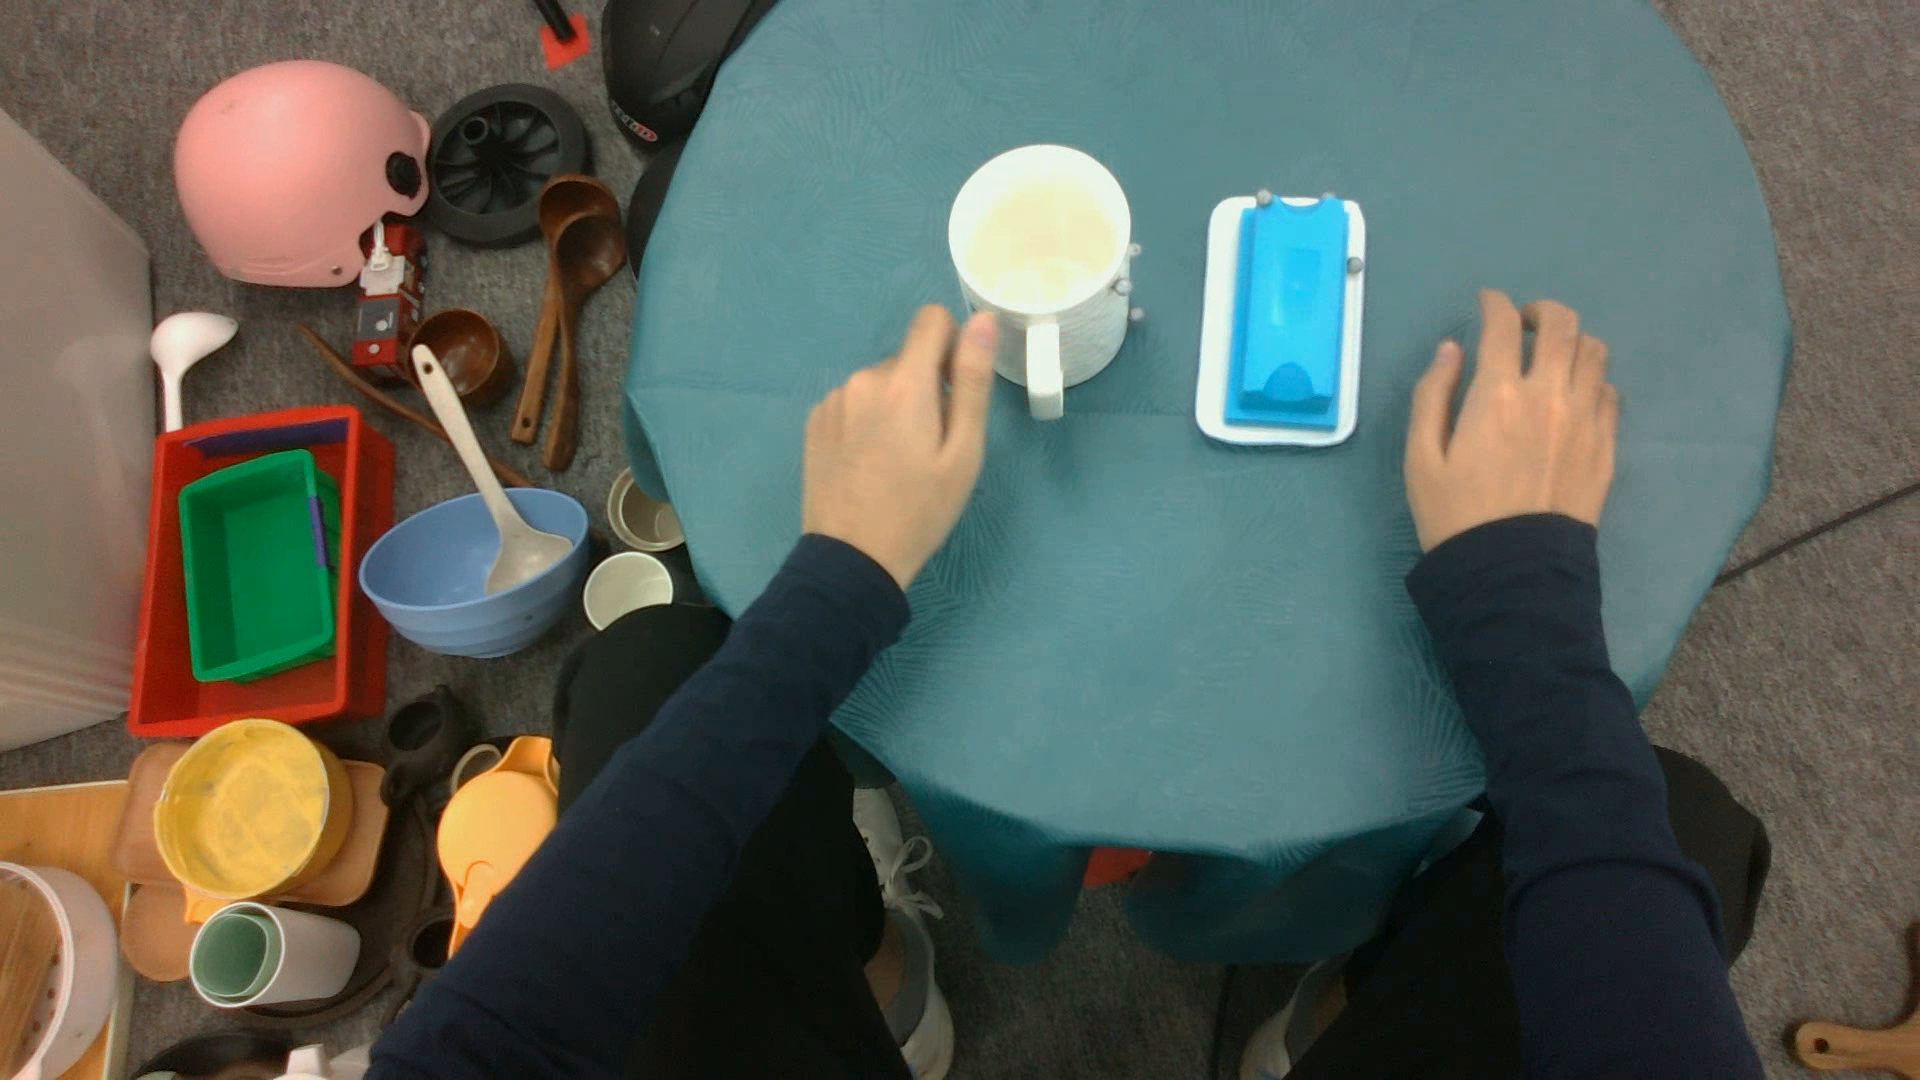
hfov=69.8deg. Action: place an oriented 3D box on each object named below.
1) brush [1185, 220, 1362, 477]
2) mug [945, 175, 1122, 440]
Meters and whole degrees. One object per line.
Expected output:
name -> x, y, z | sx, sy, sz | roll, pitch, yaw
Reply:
brush -> 0.163, -0.105, 0.708 | 0.084, 0.056, 0.144 | 6, 70, 11
mug -> 0.041, -0.108, 0.701 | 0.085, 0.102, 0.118 | -4, 73, 5
